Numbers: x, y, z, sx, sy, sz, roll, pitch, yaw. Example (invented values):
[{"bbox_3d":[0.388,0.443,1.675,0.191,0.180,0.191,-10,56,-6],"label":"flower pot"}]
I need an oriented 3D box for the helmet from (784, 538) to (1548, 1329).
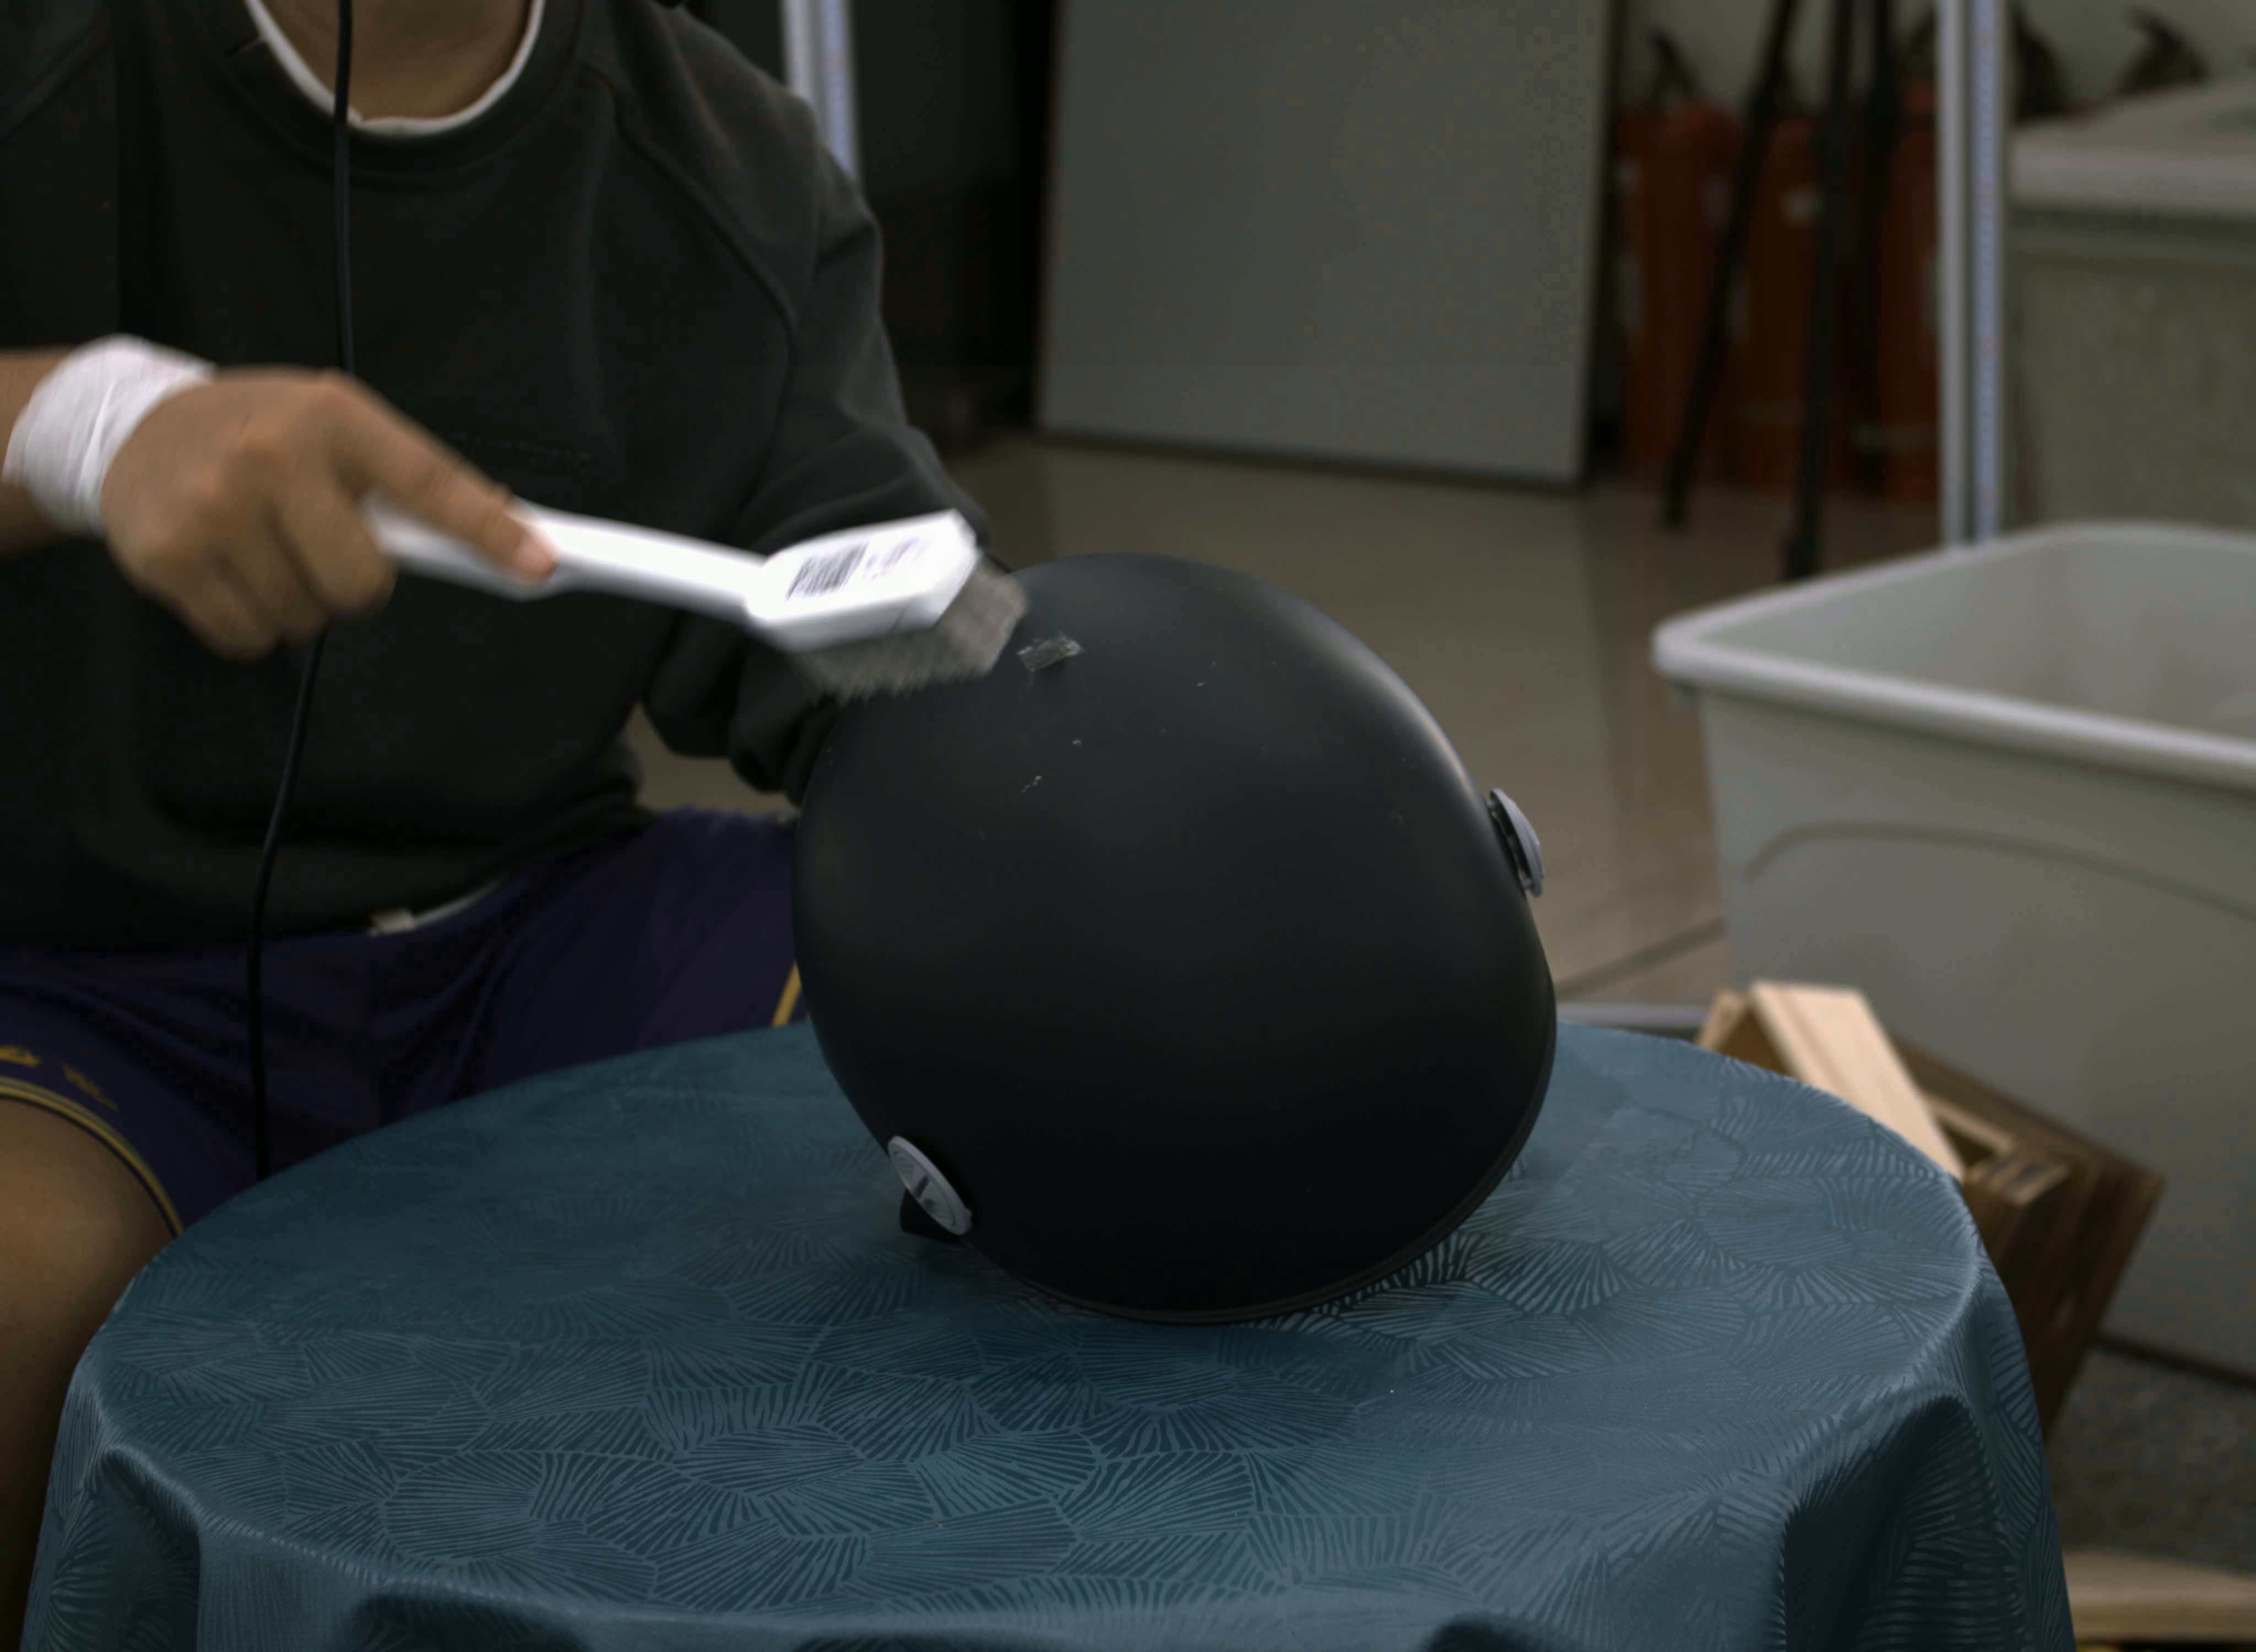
[{"bbox_3d":[0.002,0.012,1.681,0.227,0.166,0.276,-29,42,-8],"label":"helmet"}]

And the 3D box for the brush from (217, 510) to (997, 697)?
[{"bbox_3d":[-0.152,-0.065,1.565,0.244,0.050,0.034,2,48,25],"label":"brush"}]
